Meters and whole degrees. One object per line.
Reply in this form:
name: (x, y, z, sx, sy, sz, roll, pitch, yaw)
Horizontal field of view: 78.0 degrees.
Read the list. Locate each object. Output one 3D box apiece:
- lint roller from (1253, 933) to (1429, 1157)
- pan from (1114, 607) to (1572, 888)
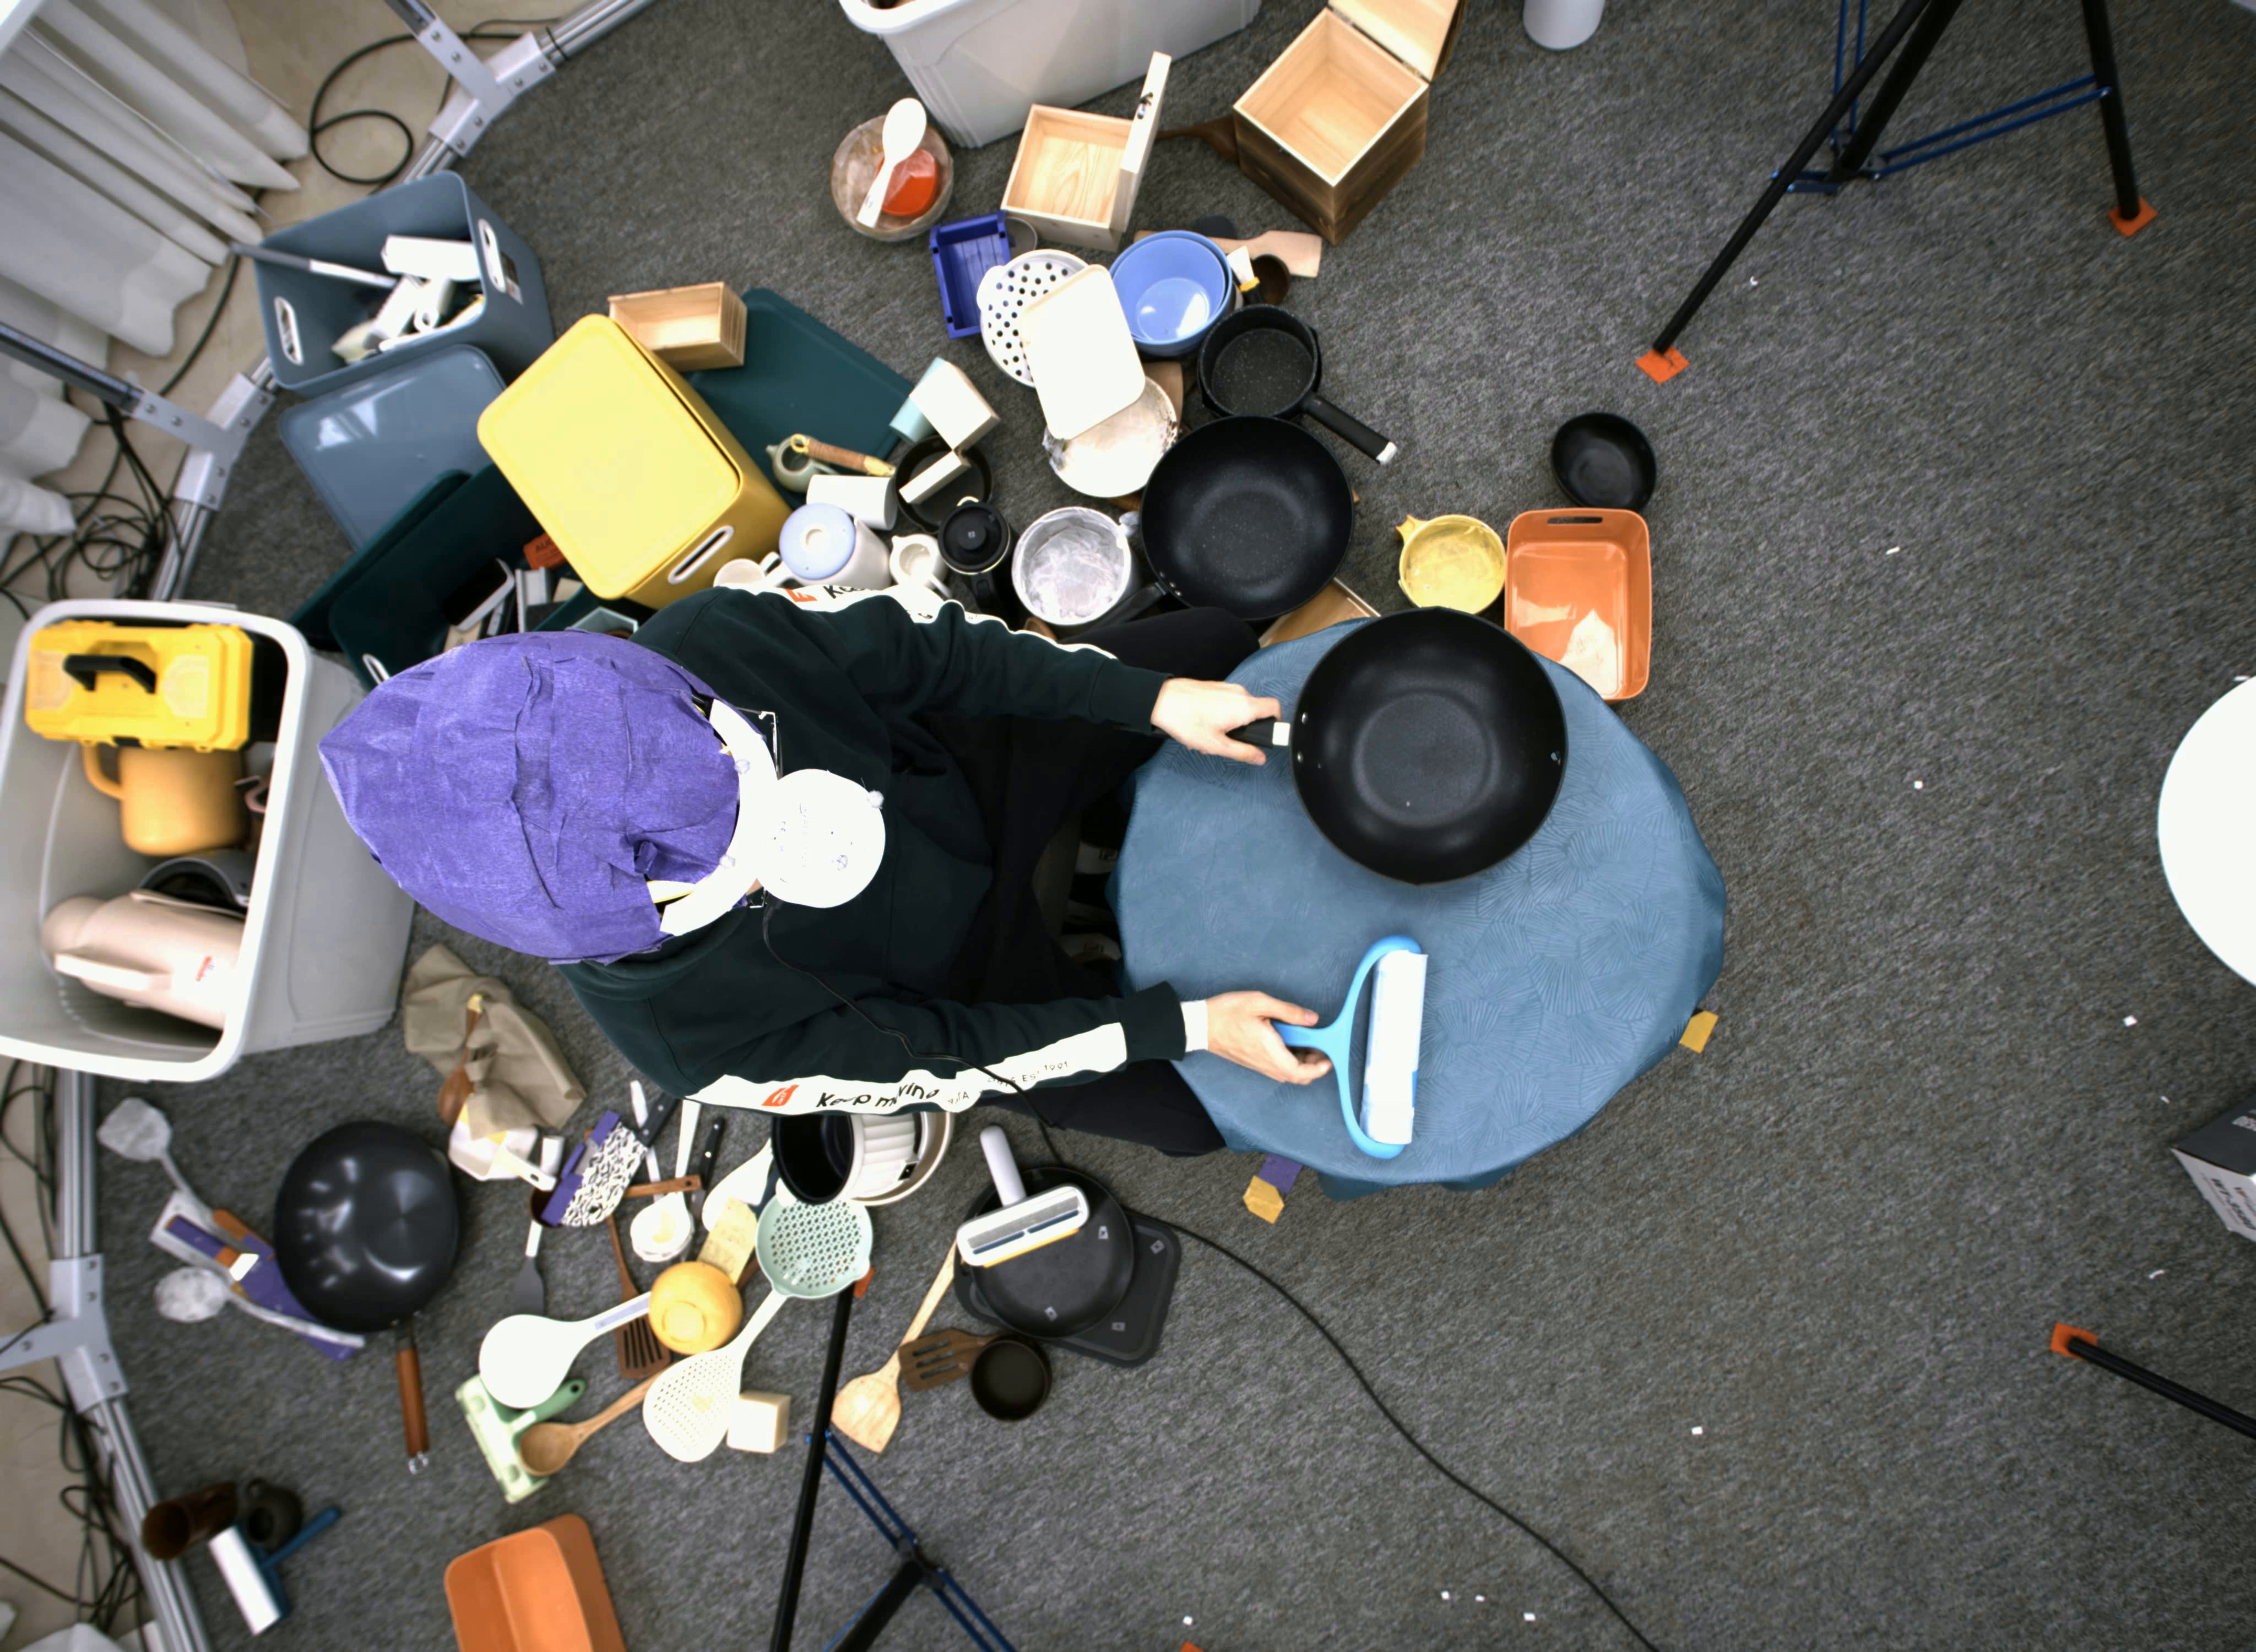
lint roller: (0.217, 0.222, 1.429, 0.181, 0.068, 0.228, 1, 89, 9)
pan: (0.218, -0.087, 1.432, 0.465, 0.087, 0.287, 6, 87, 11)
